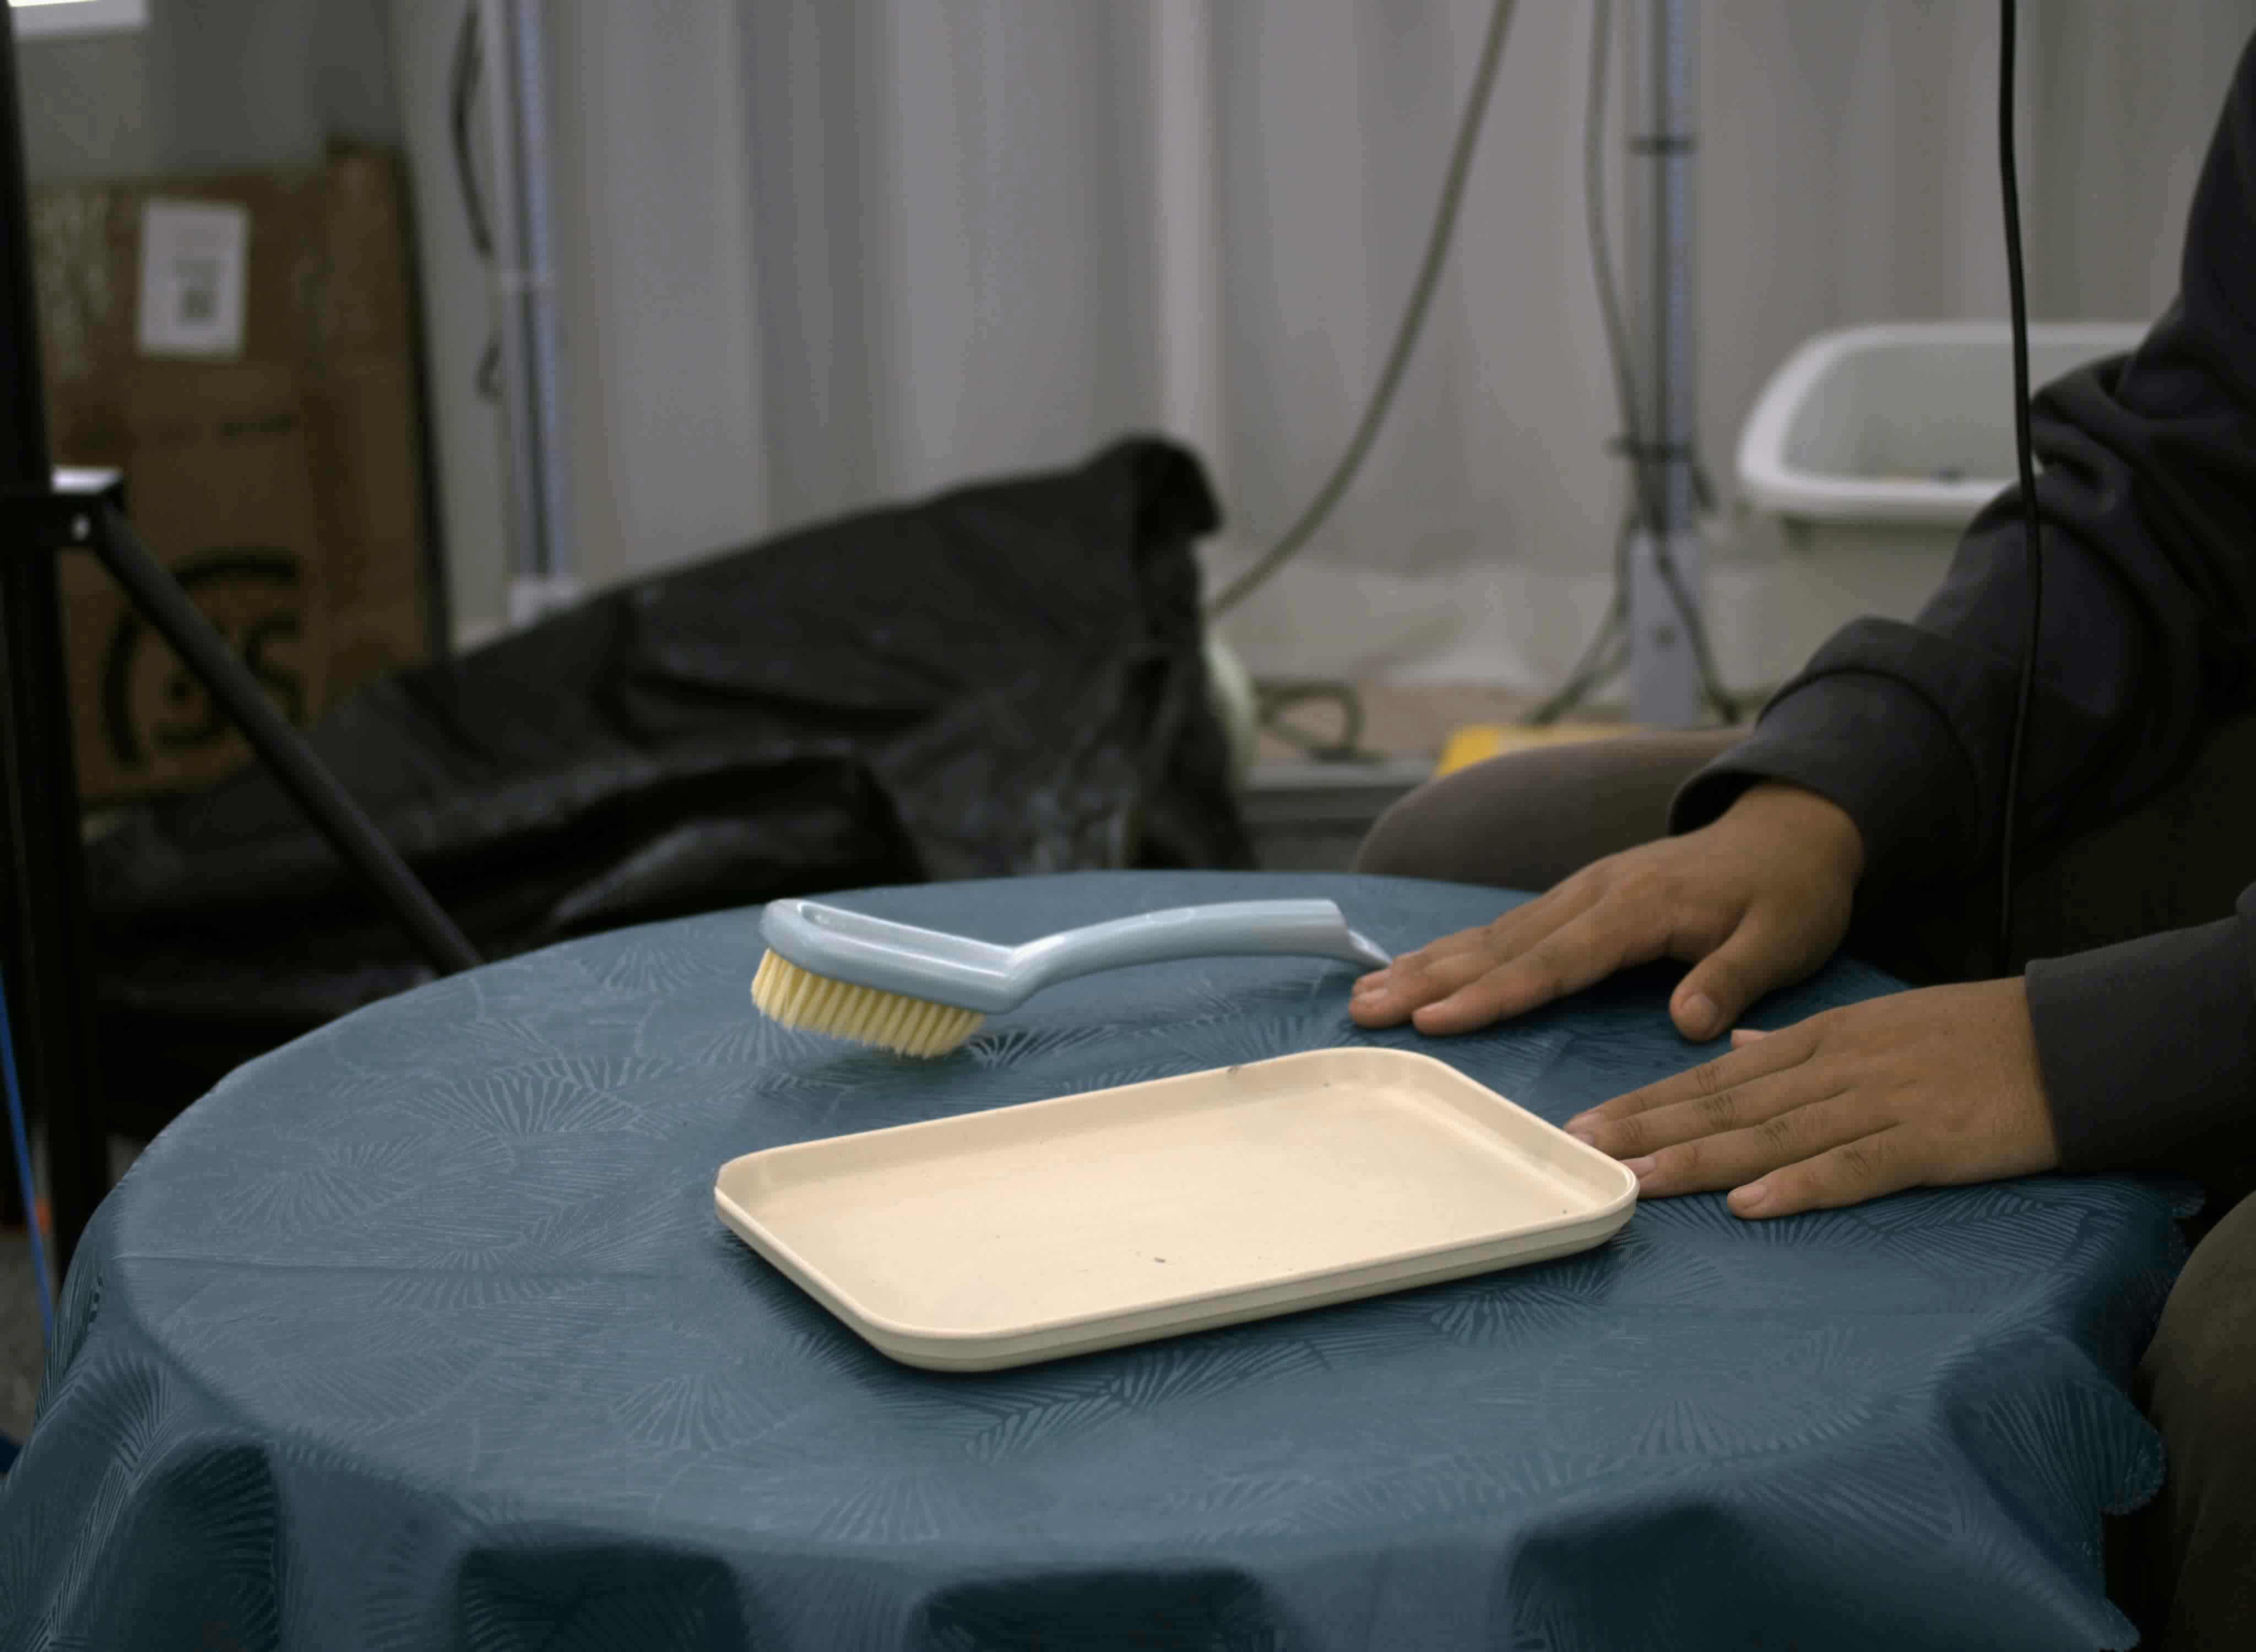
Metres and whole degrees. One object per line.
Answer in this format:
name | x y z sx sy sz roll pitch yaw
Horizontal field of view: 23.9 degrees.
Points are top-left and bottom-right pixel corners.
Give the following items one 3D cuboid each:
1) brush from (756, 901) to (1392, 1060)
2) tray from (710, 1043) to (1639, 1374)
brush | -0.015 0.048 1.713 0.223 0.050 0.038 -2 26 -28
tray | 0.013 0.109 1.519 0.235 0.017 0.174 -9 18 -22
